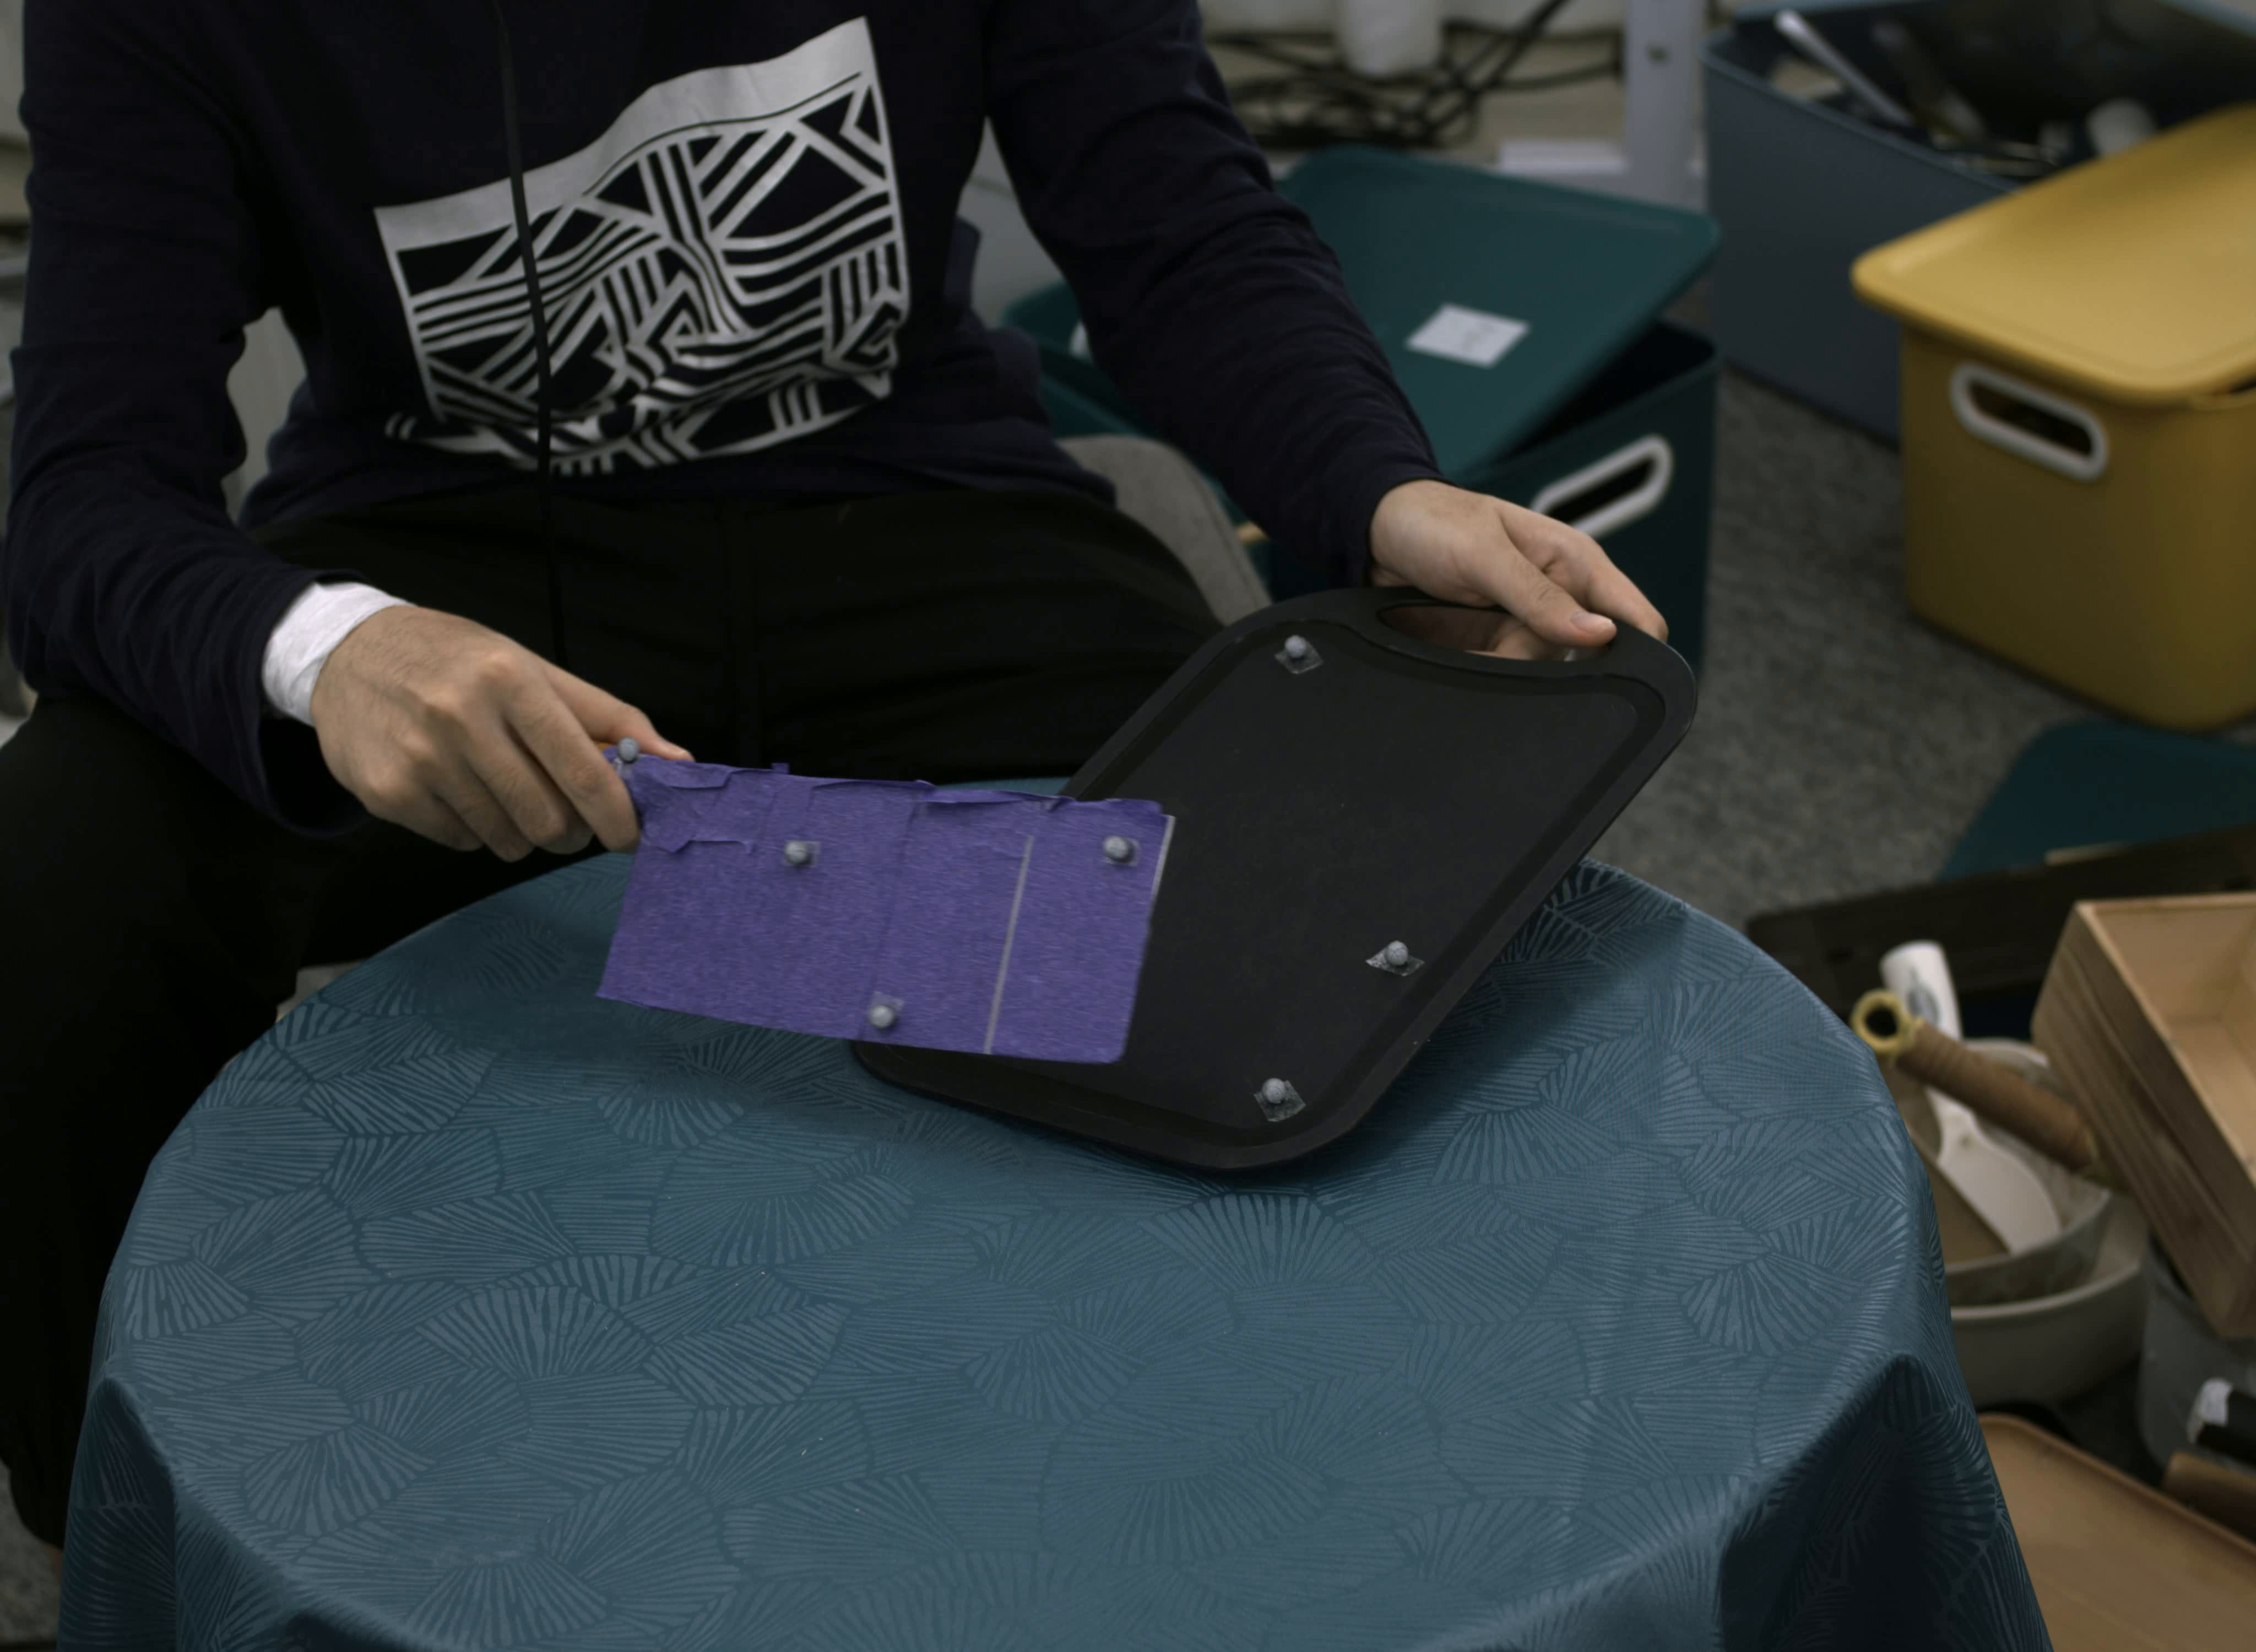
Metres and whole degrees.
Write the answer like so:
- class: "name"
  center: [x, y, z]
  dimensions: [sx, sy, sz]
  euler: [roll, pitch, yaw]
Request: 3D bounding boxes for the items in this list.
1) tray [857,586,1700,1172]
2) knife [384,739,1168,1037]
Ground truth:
- class: "tray"
  center: [0.059, 0.007, 1.997]
  dimensions: [0.210, 0.009, 0.331]
  euler: [13, 42, 33]
- class: "knife"
  center: [-0.131, 0.020, 1.920]
  dimensions: [0.312, 0.032, 0.105]
  euler: [3, 70, 31]
